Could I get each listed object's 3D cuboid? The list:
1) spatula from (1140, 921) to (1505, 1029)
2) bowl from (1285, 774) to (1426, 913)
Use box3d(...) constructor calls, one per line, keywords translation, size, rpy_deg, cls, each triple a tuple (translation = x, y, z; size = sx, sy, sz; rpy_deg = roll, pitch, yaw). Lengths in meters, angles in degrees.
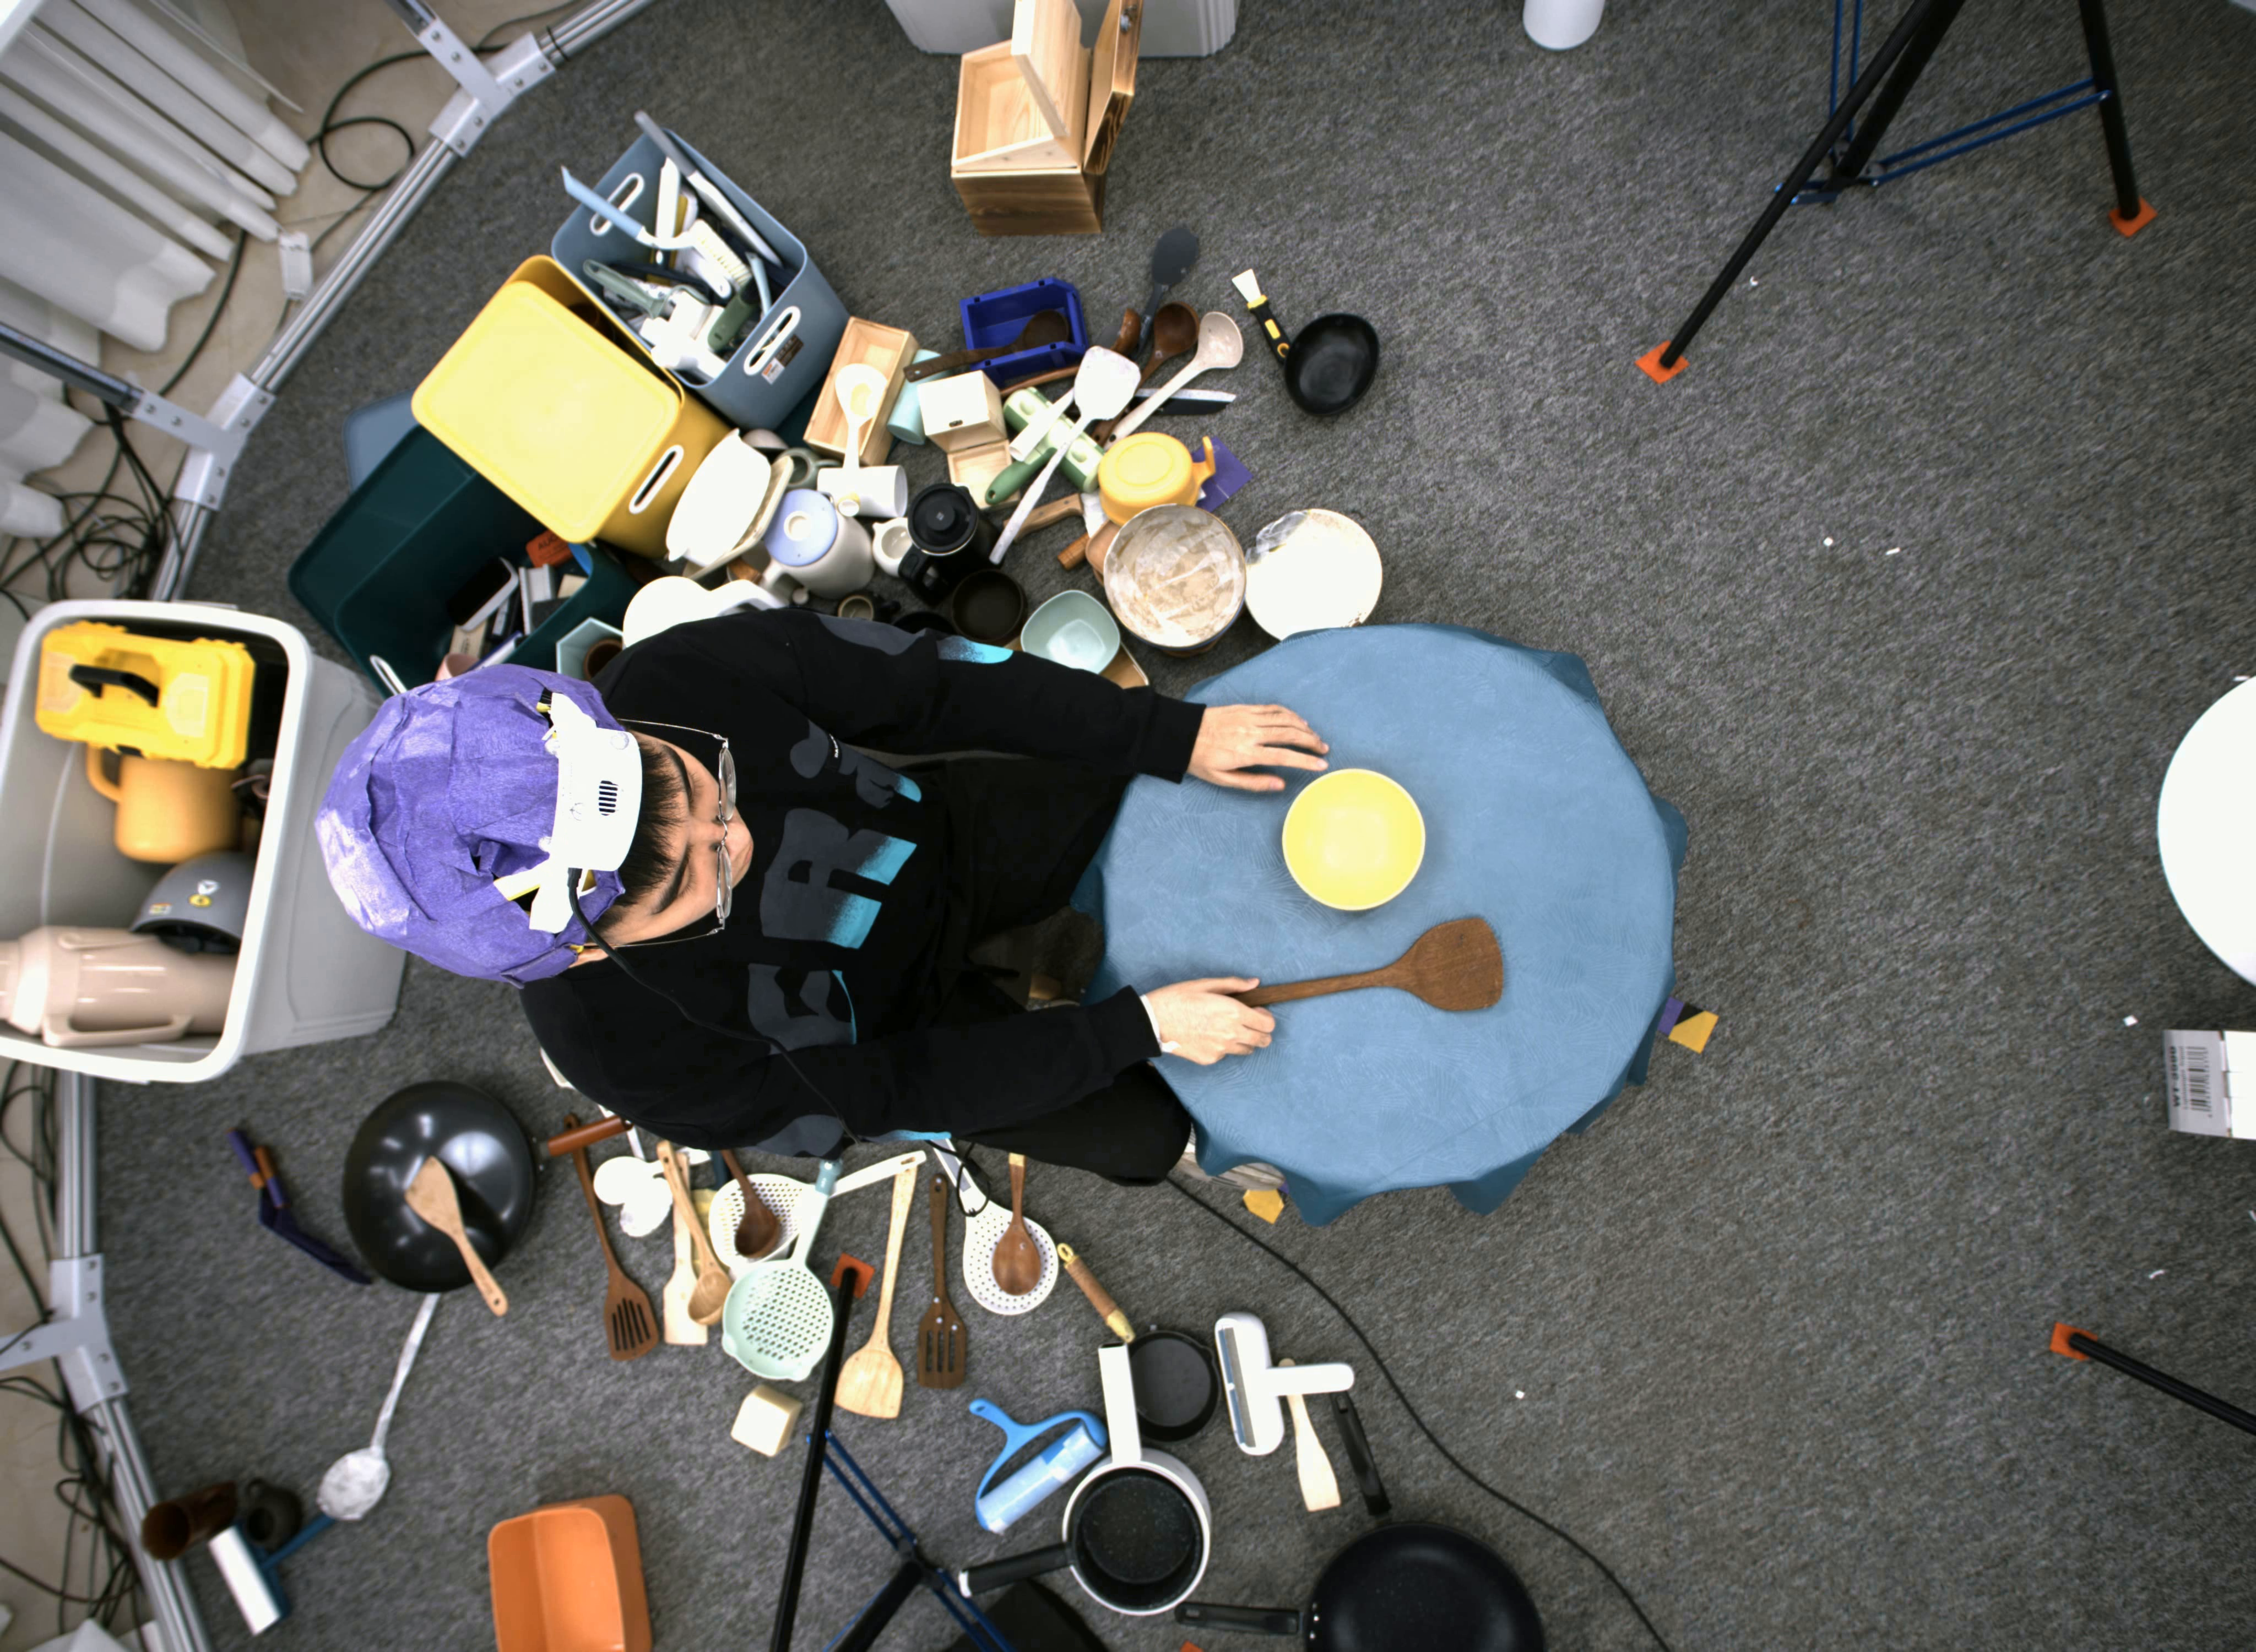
box3d(translation=(0.201, 0.173, 1.463), size=(0.388, 0.016, 0.095), rpy_deg=(-10, 84, 9), cls="spatula")
box3d(translation=(0.238, 0.021, 1.446), size=(0.146, 0.060, 0.144), rpy_deg=(-2, 83, 11), cls="bowl")
